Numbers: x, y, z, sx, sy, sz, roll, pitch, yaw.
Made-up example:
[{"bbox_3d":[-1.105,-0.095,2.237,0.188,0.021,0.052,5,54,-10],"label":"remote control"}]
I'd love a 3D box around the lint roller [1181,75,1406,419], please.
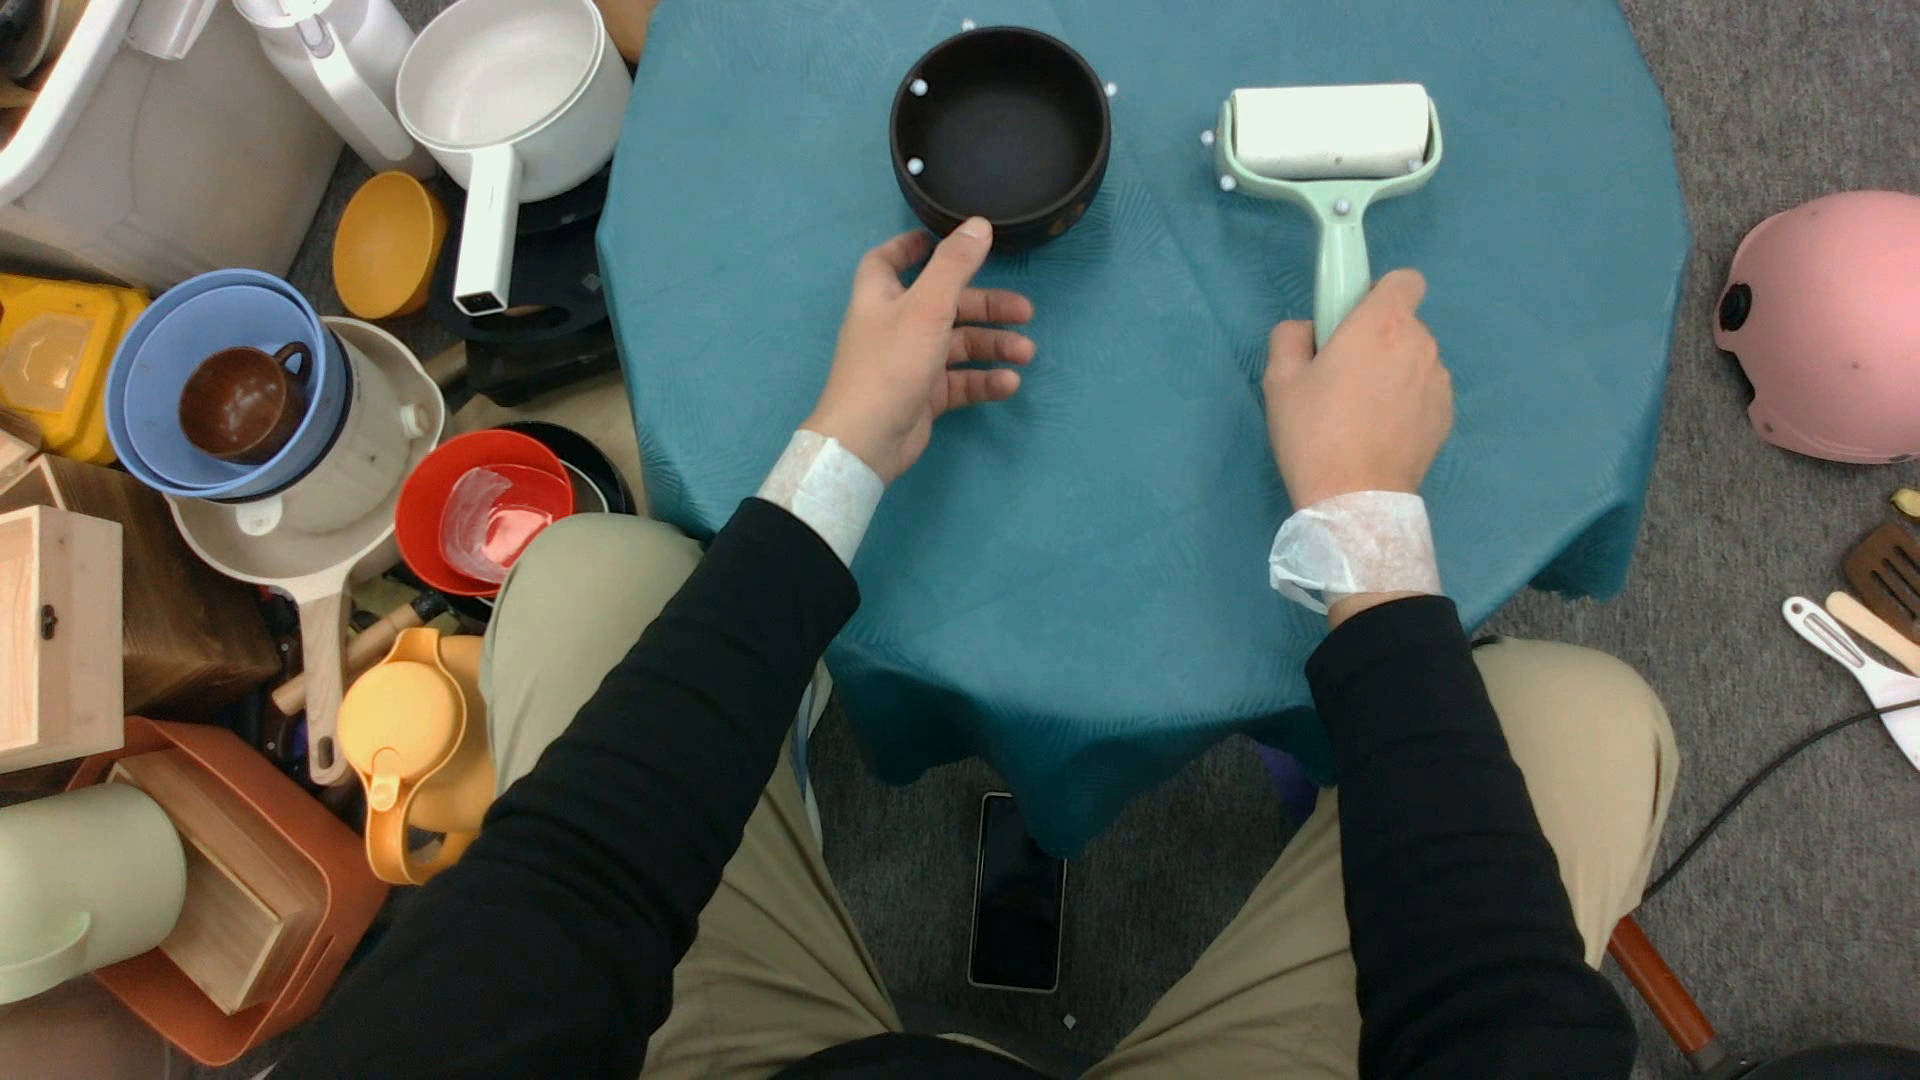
[{"bbox_3d":[0.180,-0.159,0.726,0.116,0.048,0.198,0,68,1],"label":"lint roller"}]

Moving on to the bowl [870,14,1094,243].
[{"bbox_3d":[0.012,-0.215,0.746,0.118,0.070,0.118,0,78,1],"label":"bowl"}]
